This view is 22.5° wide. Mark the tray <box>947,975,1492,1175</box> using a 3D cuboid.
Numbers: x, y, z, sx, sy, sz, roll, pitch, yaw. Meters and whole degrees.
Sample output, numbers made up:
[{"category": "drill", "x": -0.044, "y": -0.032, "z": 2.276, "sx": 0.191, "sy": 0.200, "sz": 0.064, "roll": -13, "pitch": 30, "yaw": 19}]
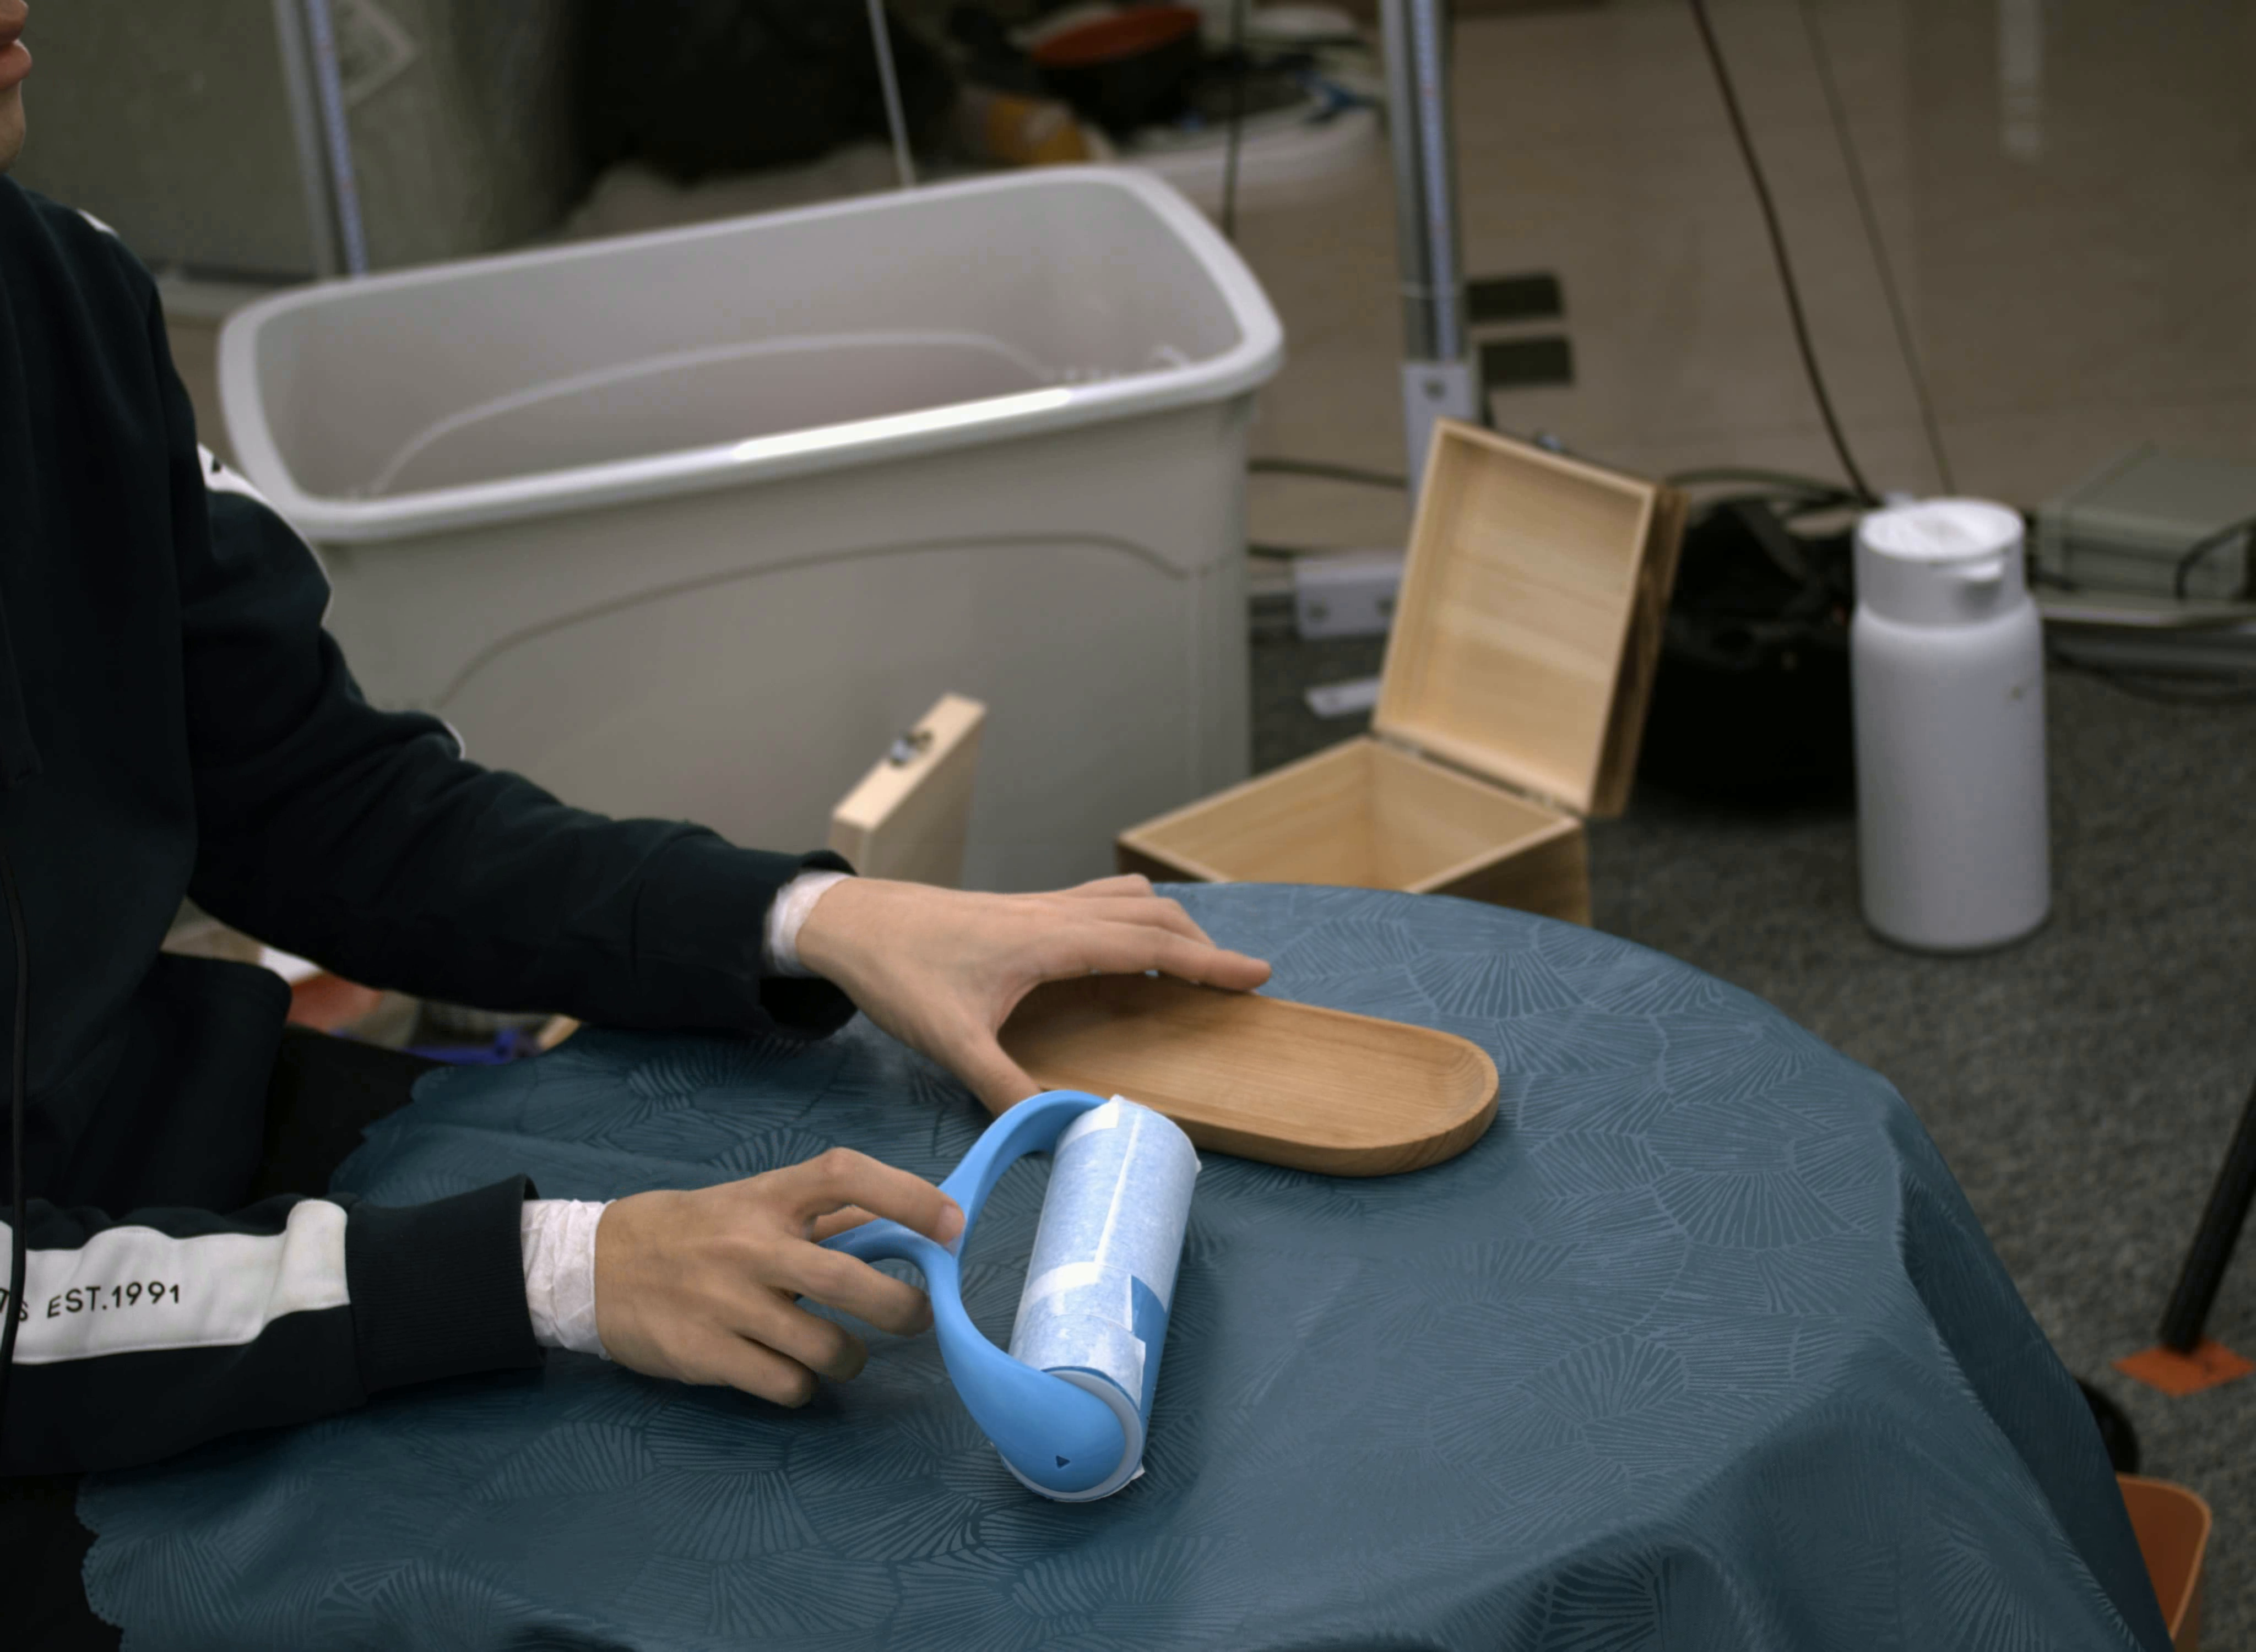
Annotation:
[{"category": "tray", "x": 0.034, "y": 0.097, "z": 2.207, "sx": 0.230, "sy": 0.020, "sz": 0.100, "roll": 8, "pitch": 27, "yaw": 31}]

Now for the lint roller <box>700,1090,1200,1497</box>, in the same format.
[{"category": "lint roller", "x": -0.068, "y": 0.169, "z": 2.028, "sx": 0.180, "sy": 0.069, "sz": 0.225, "roll": -3, "pitch": 26, "yaw": 5}]
